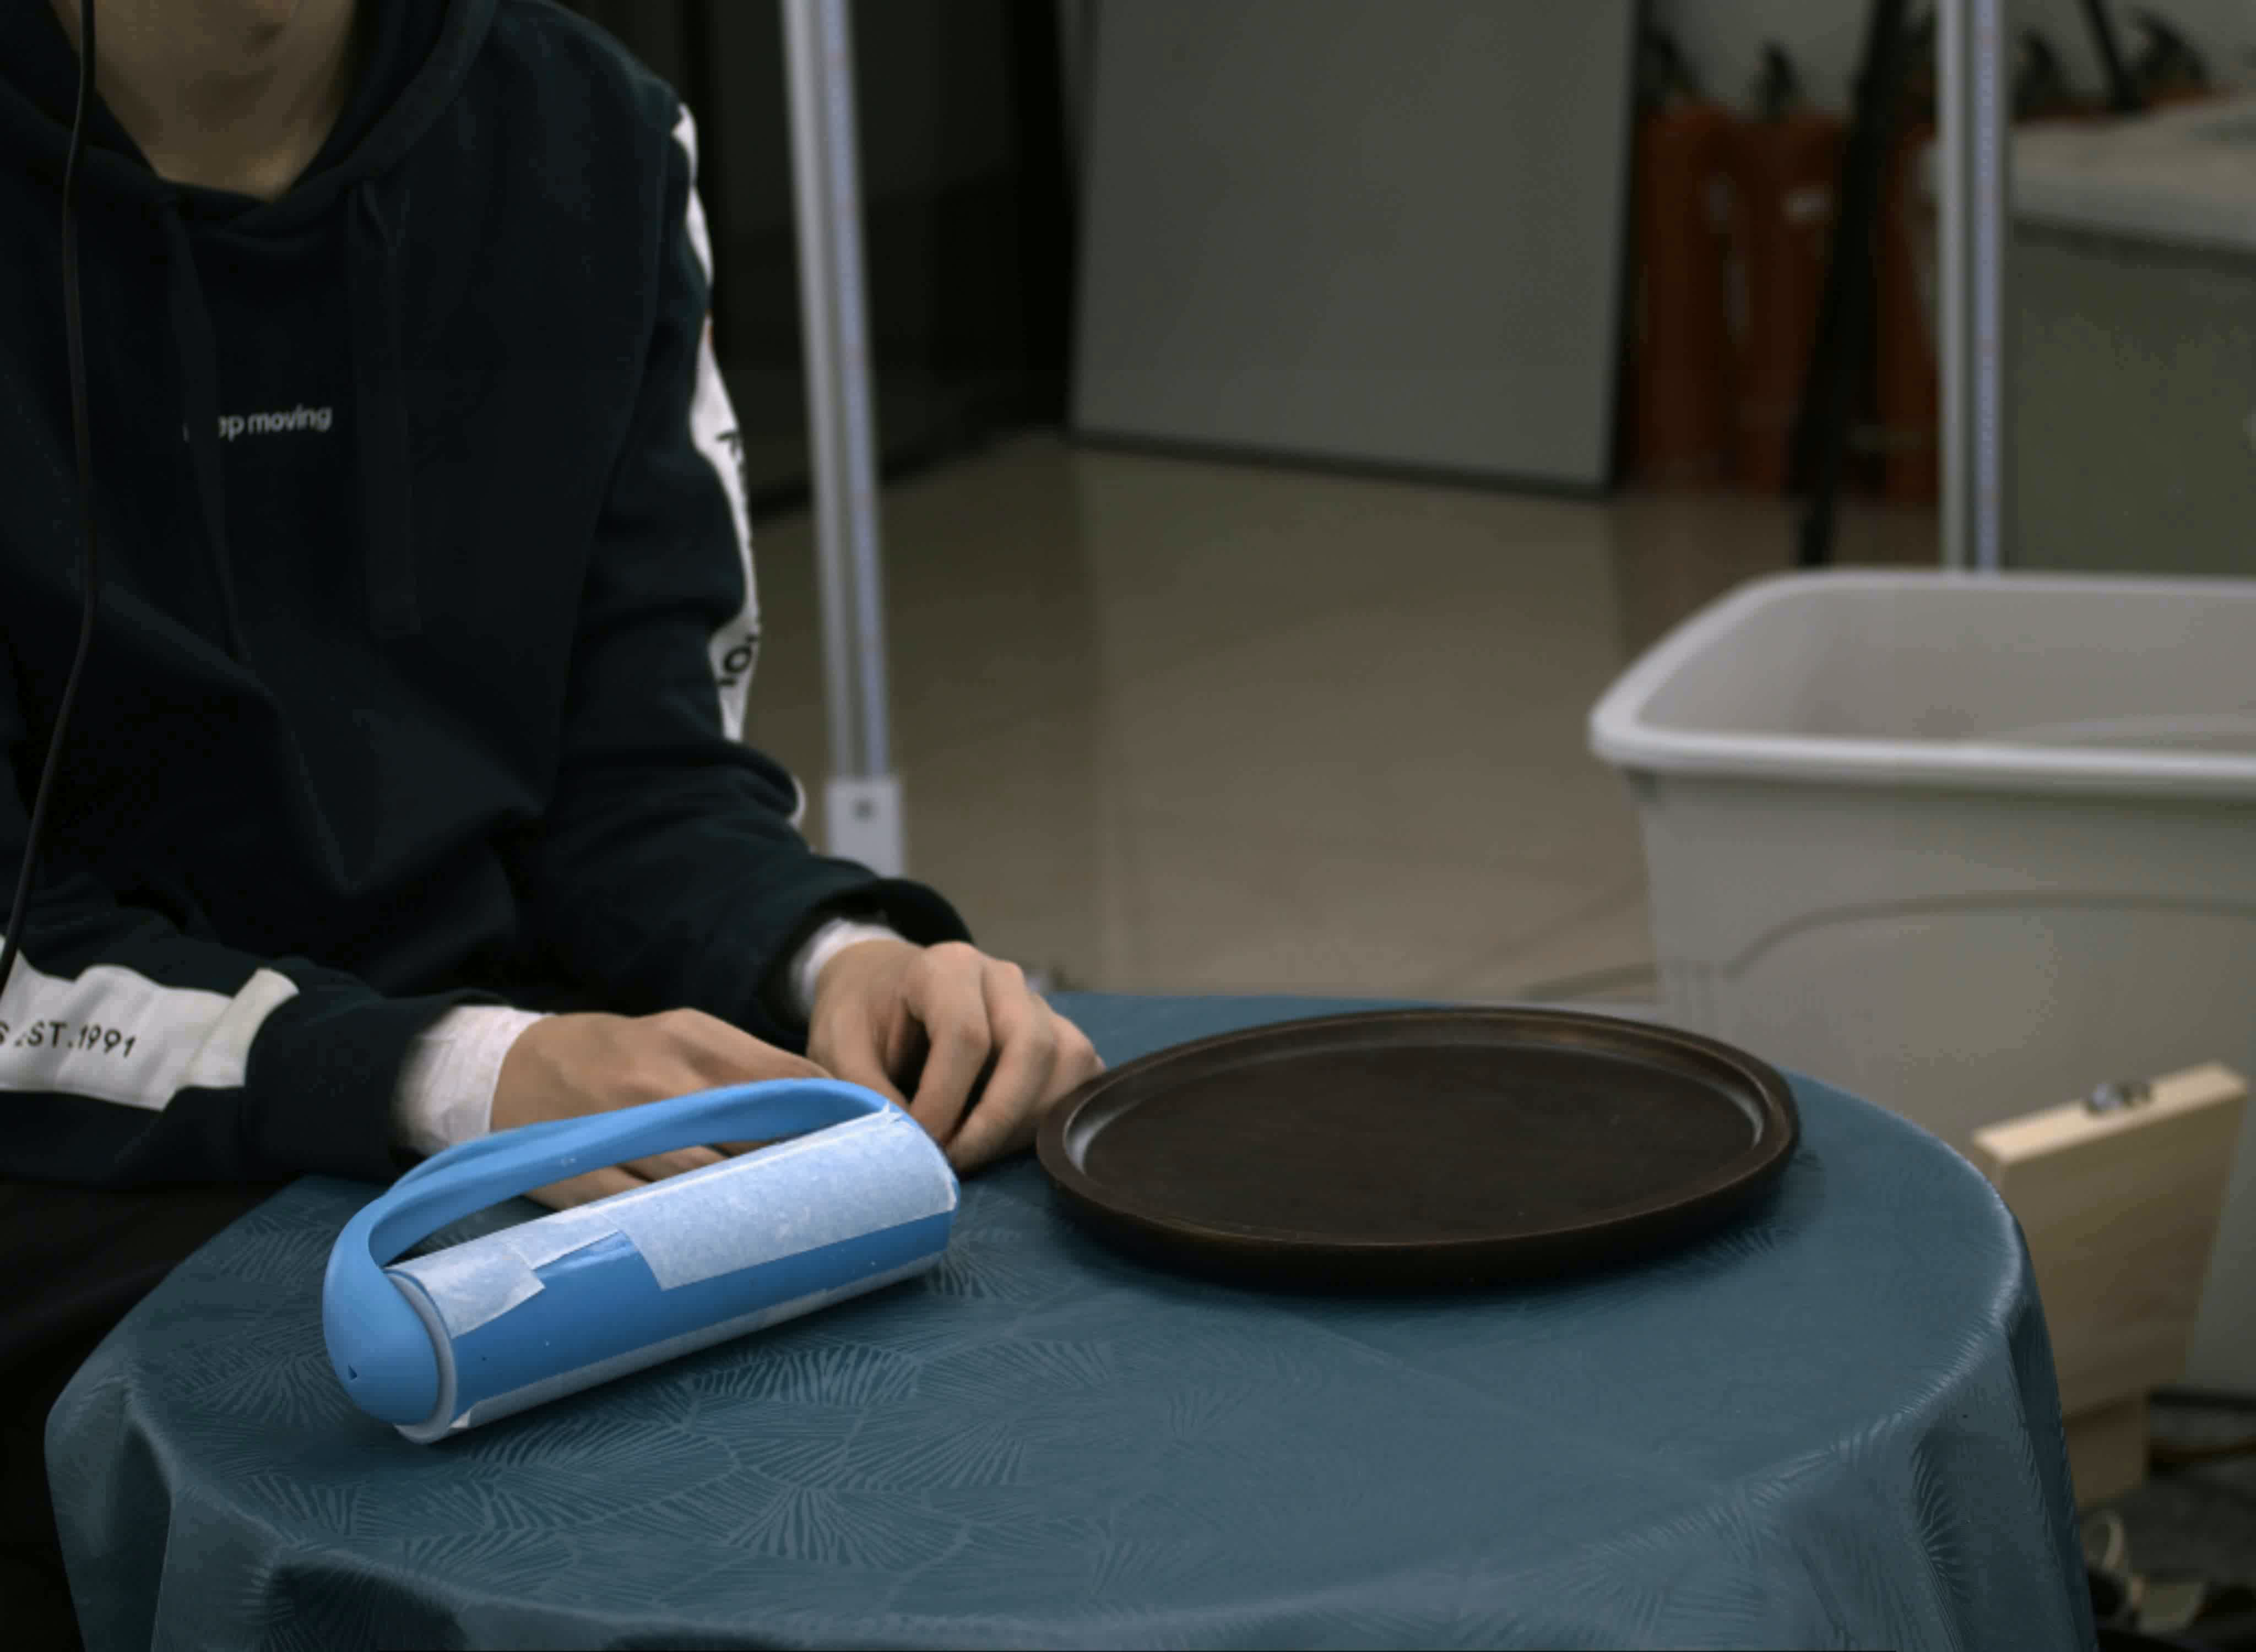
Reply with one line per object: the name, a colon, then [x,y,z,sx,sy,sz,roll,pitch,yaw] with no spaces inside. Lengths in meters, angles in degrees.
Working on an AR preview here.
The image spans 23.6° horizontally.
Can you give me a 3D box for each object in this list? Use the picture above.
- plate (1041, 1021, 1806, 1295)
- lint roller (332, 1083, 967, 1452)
plate: [0.096,0.106,1.758,0.251,0.029,0.255,-3,13,0]
lint roller: [-0.181,0.127,1.682,0.224,0.068,0.182,-19,21,-41]
